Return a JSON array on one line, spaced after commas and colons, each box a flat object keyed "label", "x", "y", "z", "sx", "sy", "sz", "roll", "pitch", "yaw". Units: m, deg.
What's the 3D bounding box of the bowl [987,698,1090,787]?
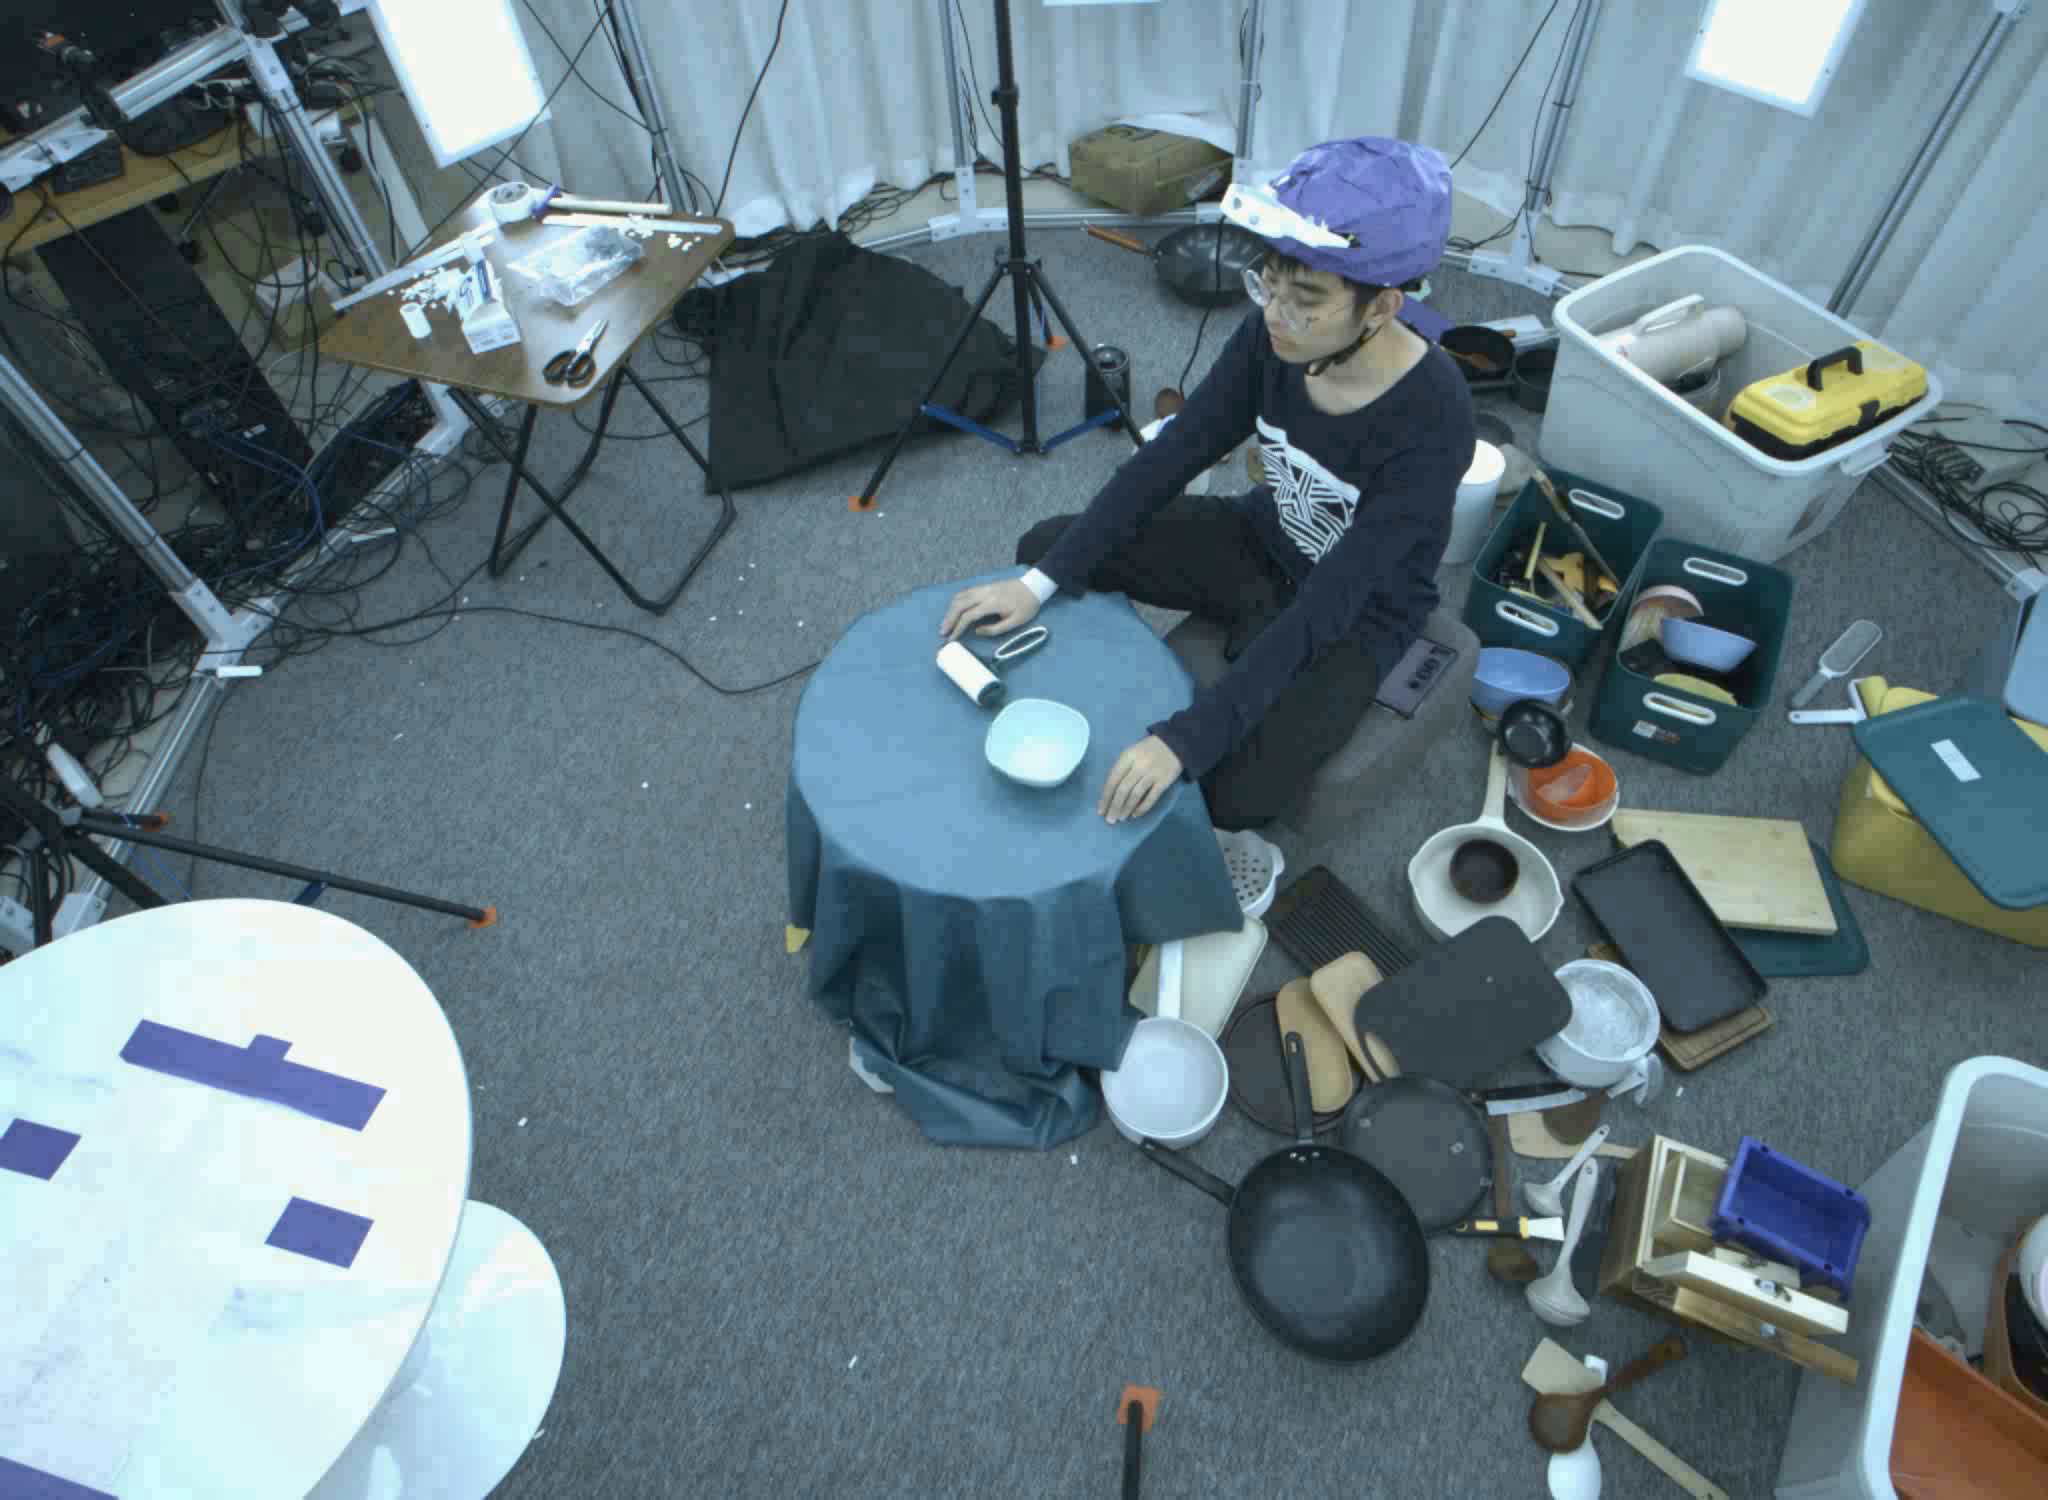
[{"label": "bowl", "x": 0.023, "y": 0.000, "z": 1.759, "sx": 0.151, "sy": 0.059, "sz": 0.150, "roll": -1, "pitch": 56, "yaw": 3}]

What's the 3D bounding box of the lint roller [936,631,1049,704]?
[{"label": "lint roller", "x": -0.033, "y": -0.150, "z": 1.879, "sx": 0.182, "sy": 0.049, "sz": 0.132, "roll": -33, "pitch": 60, "yaw": -24}]
